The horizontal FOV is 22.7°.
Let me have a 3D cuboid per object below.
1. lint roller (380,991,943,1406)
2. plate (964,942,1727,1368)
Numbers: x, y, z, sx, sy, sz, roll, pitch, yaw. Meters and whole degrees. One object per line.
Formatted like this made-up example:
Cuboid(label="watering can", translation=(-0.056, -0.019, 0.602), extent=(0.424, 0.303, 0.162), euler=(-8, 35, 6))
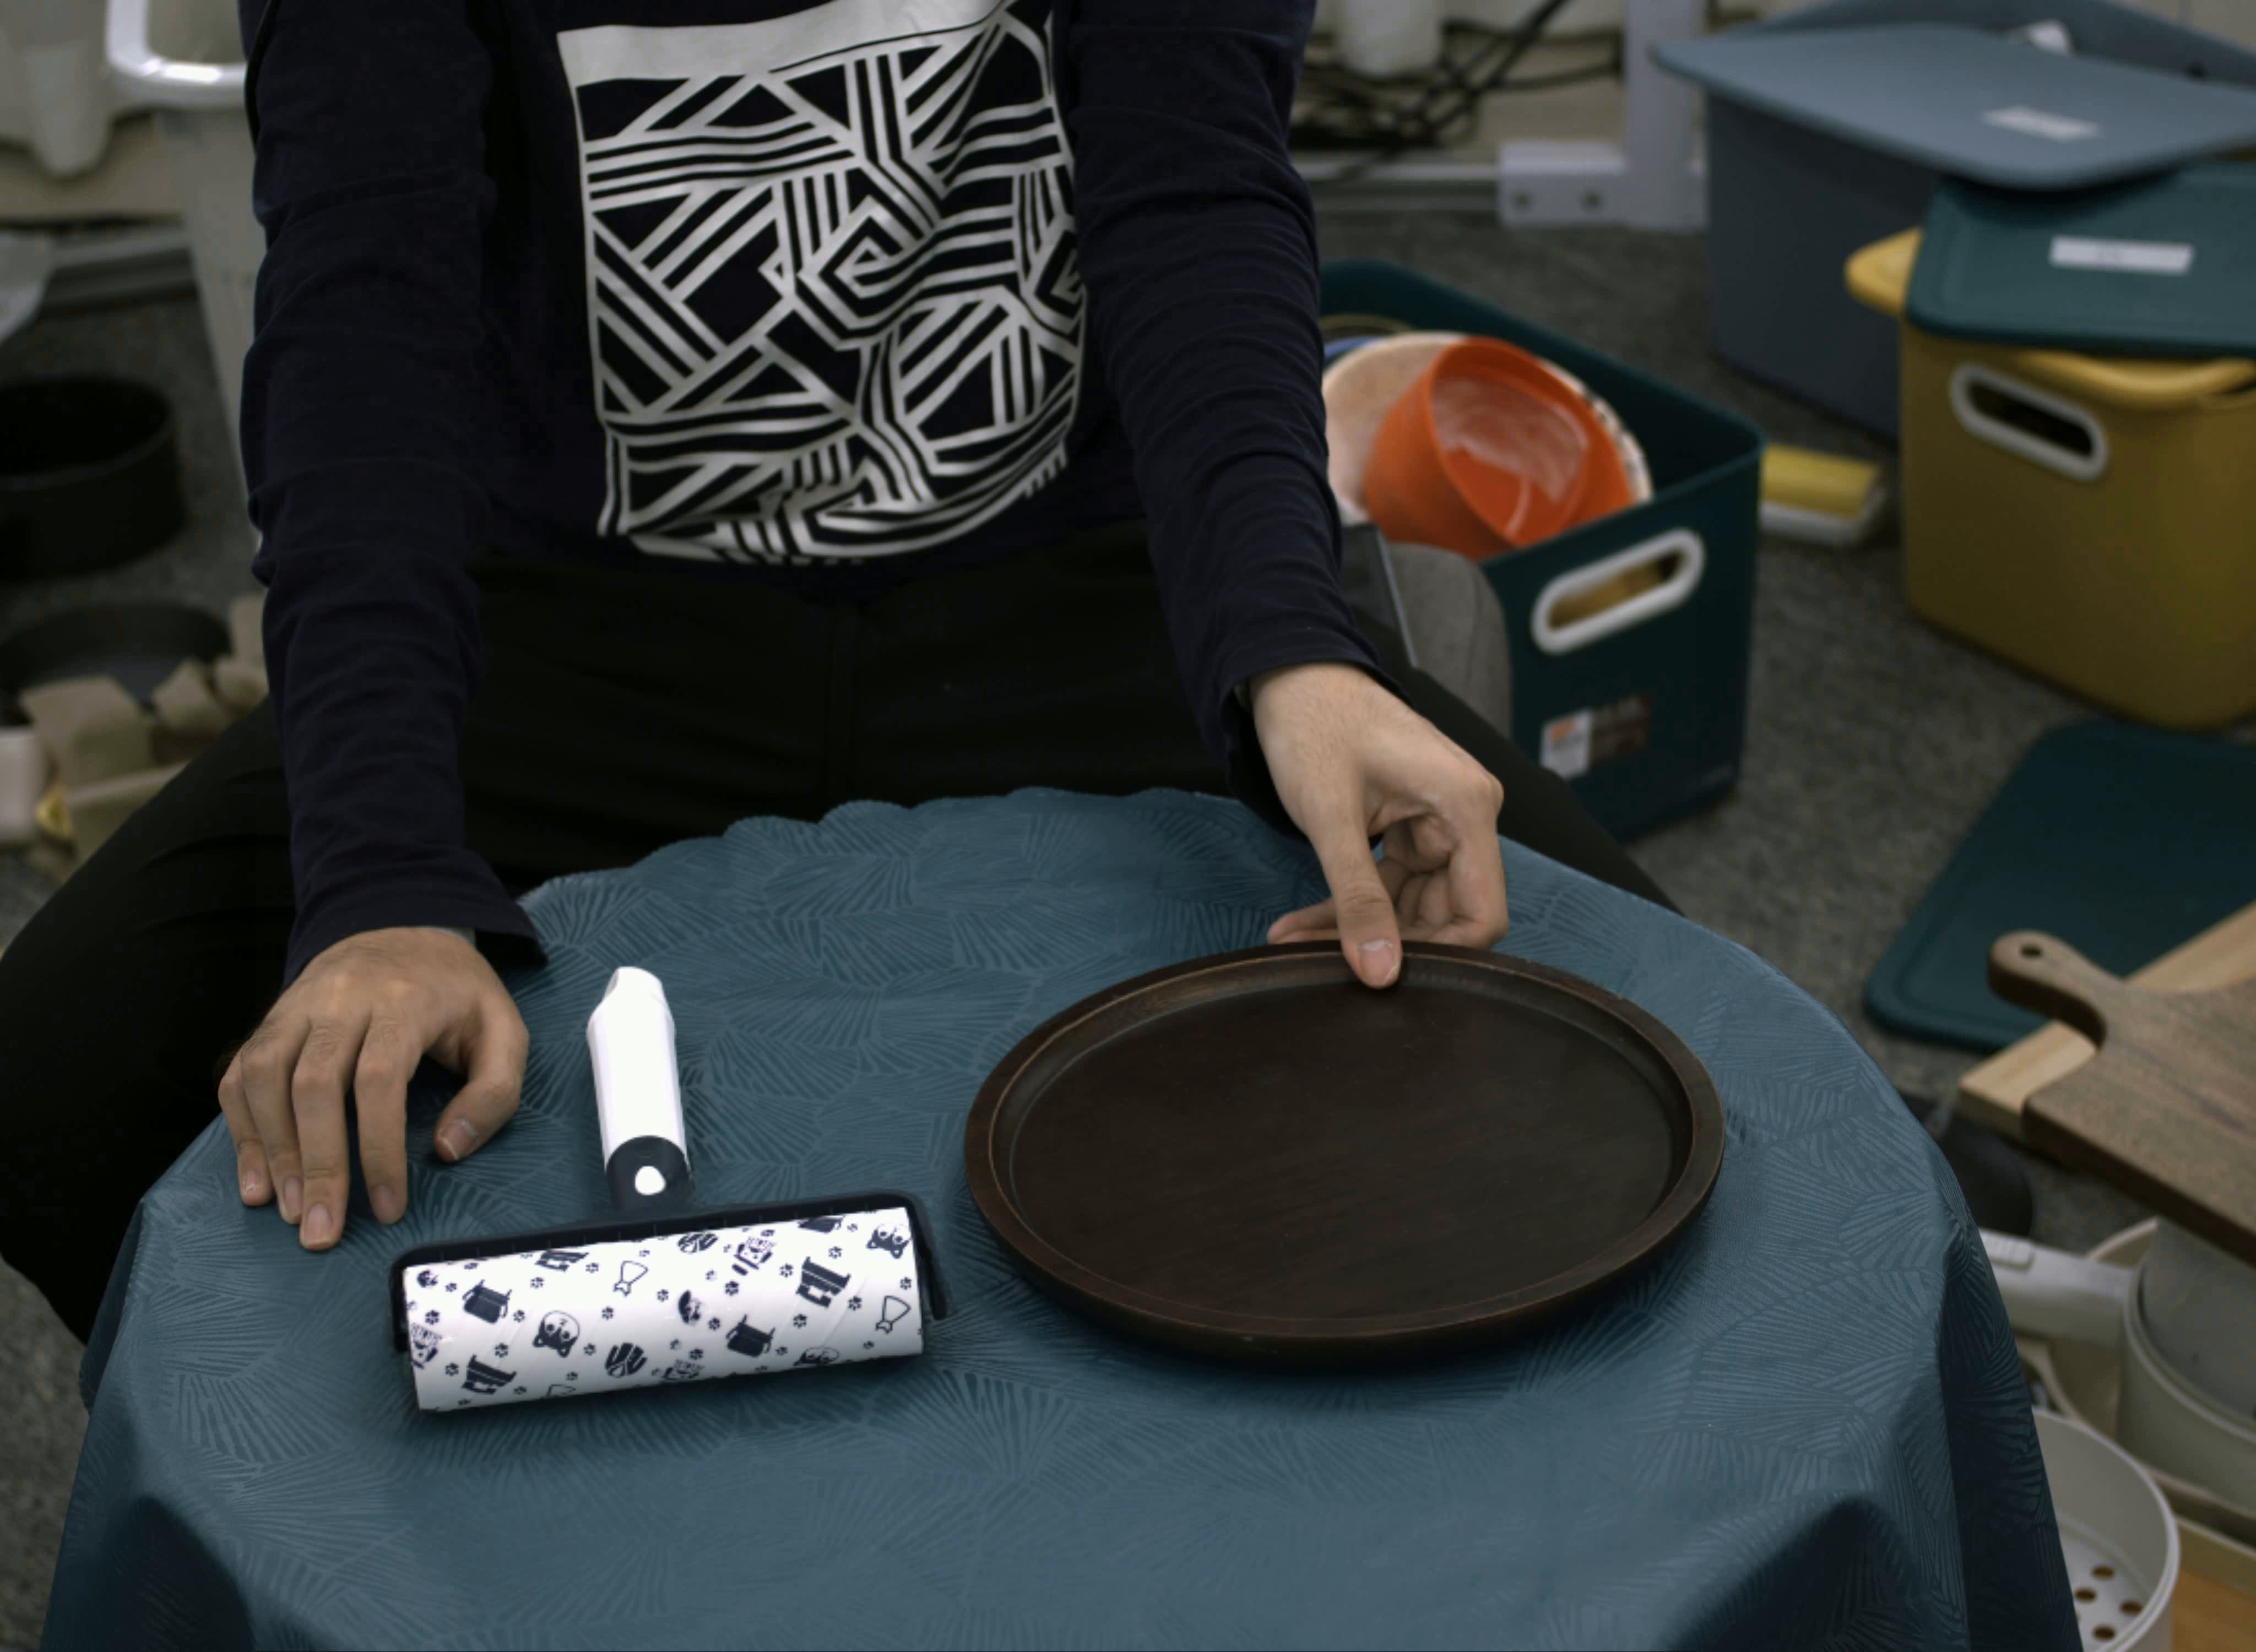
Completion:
Cuboid(label="lint roller", translation=(-0.162, 0.109, 1.857), extent=(0.176, 0.050, 0.250), euler=(-7, 25, -6))
Cuboid(label="plate", translation=(0.071, 0.107, 1.858), extent=(0.253, 0.029, 0.258), euler=(-2, 26, 1))
